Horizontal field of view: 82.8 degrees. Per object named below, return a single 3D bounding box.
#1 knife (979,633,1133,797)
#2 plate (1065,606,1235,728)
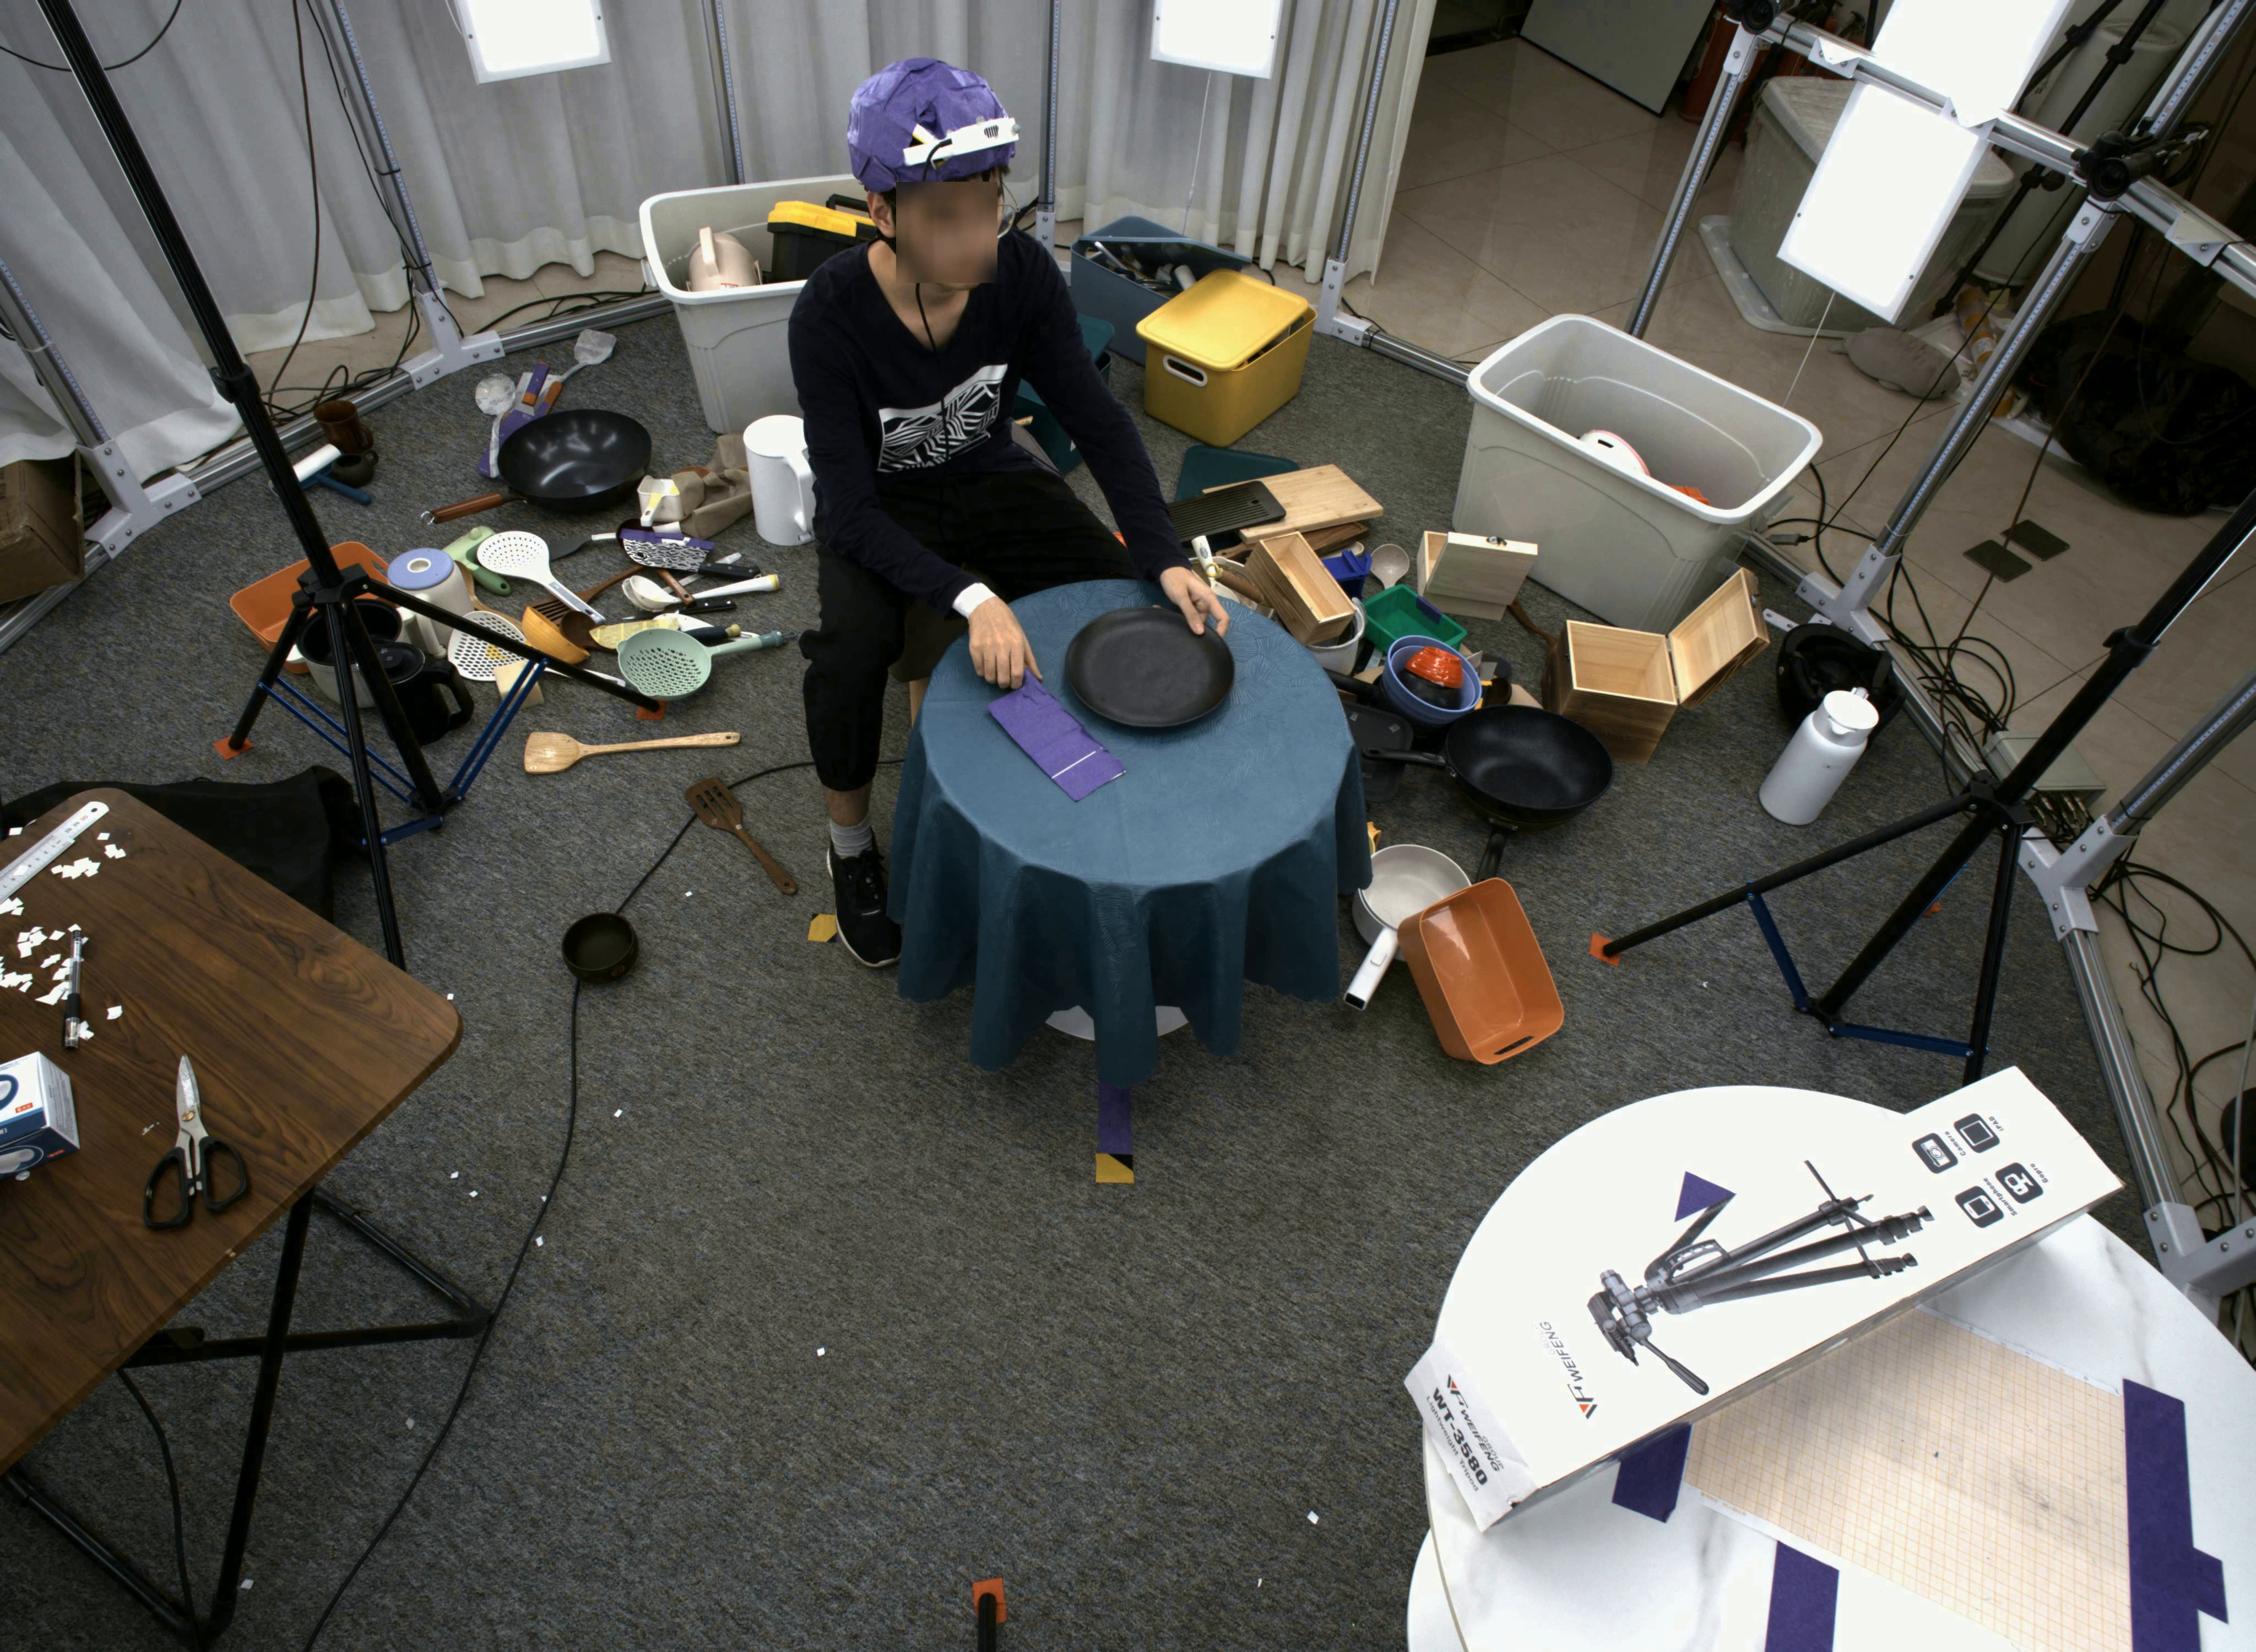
[{"bbox_3d":[-0.129,-0.157,1.777,0.104,0.031,0.321,-30,58,-26],"label":"knife"},{"bbox_3d":[0.031,-0.227,1.847,0.244,0.023,0.250,1,51,-1],"label":"plate"}]
